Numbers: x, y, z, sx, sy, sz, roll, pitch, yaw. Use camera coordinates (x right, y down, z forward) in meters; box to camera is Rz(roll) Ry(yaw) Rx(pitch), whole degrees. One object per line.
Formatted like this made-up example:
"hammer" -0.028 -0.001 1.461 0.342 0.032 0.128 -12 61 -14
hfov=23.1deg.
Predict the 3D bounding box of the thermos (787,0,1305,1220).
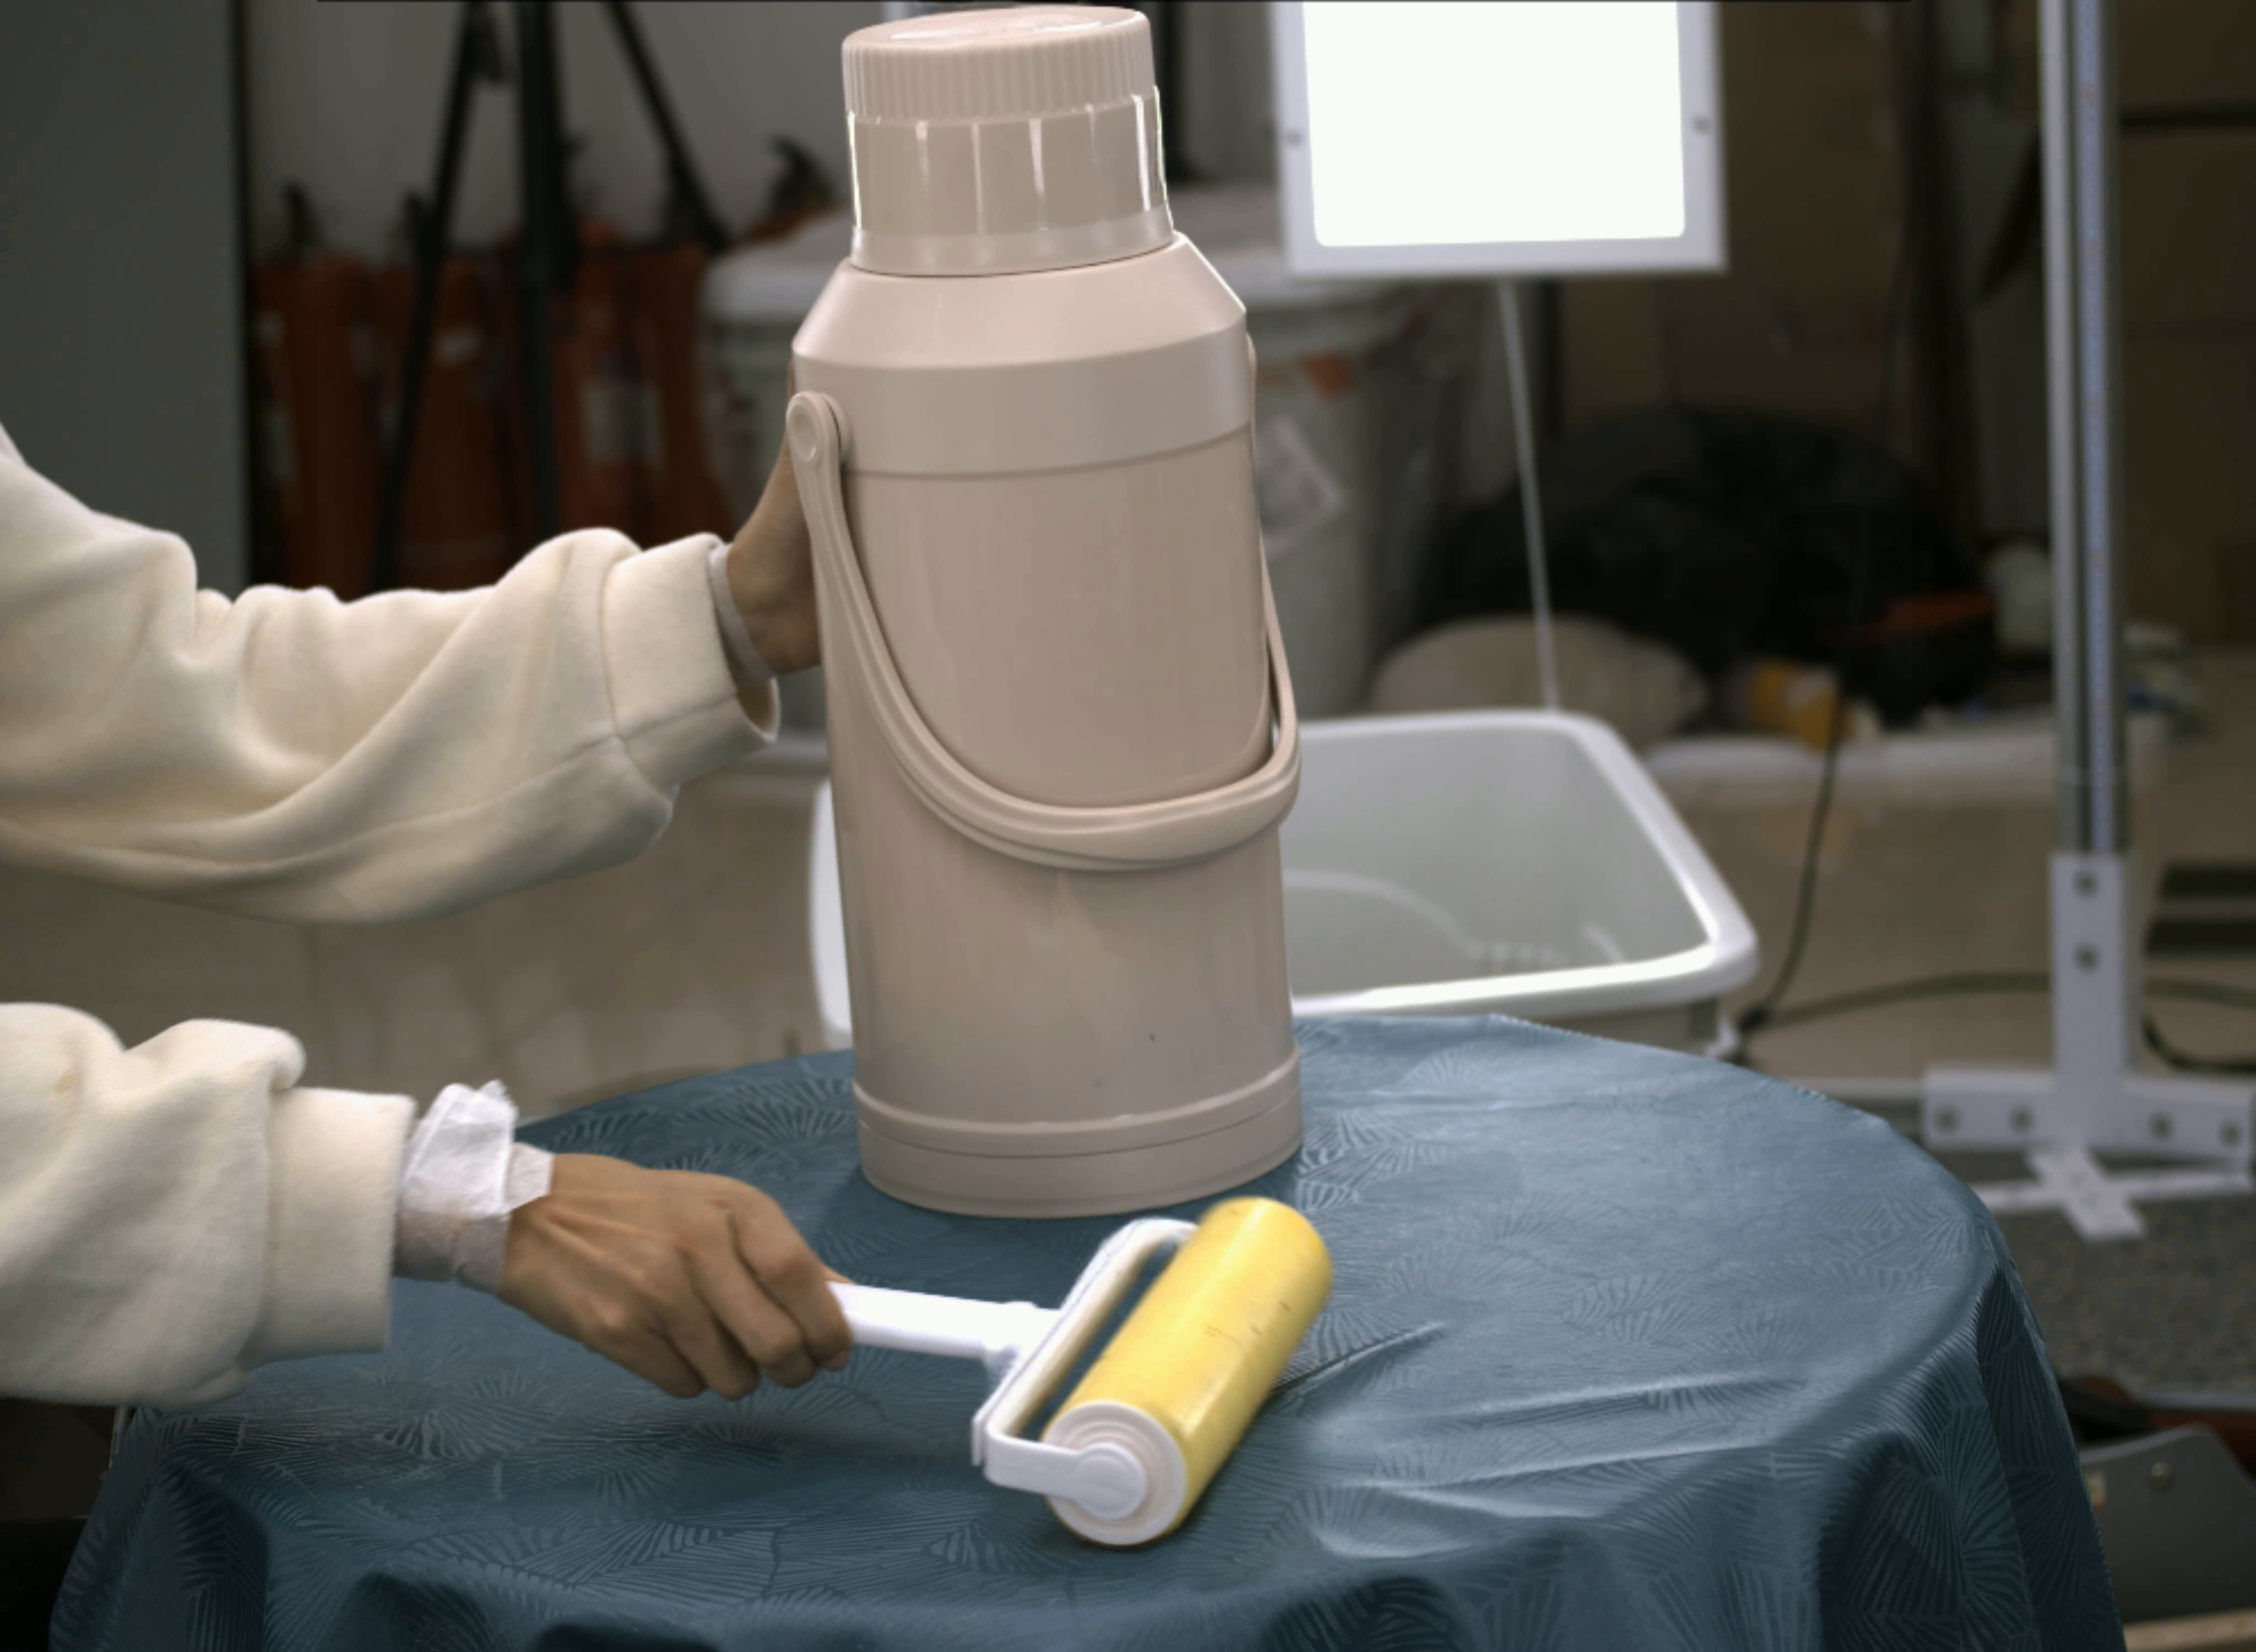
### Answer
"thermos" -0.036 -0.079 1.914 0.171 0.408 0.211 -13 16 -29

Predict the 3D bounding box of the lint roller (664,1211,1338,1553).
"lint roller" -0.046 0.142 1.653 0.193 0.052 0.171 19 22 11
